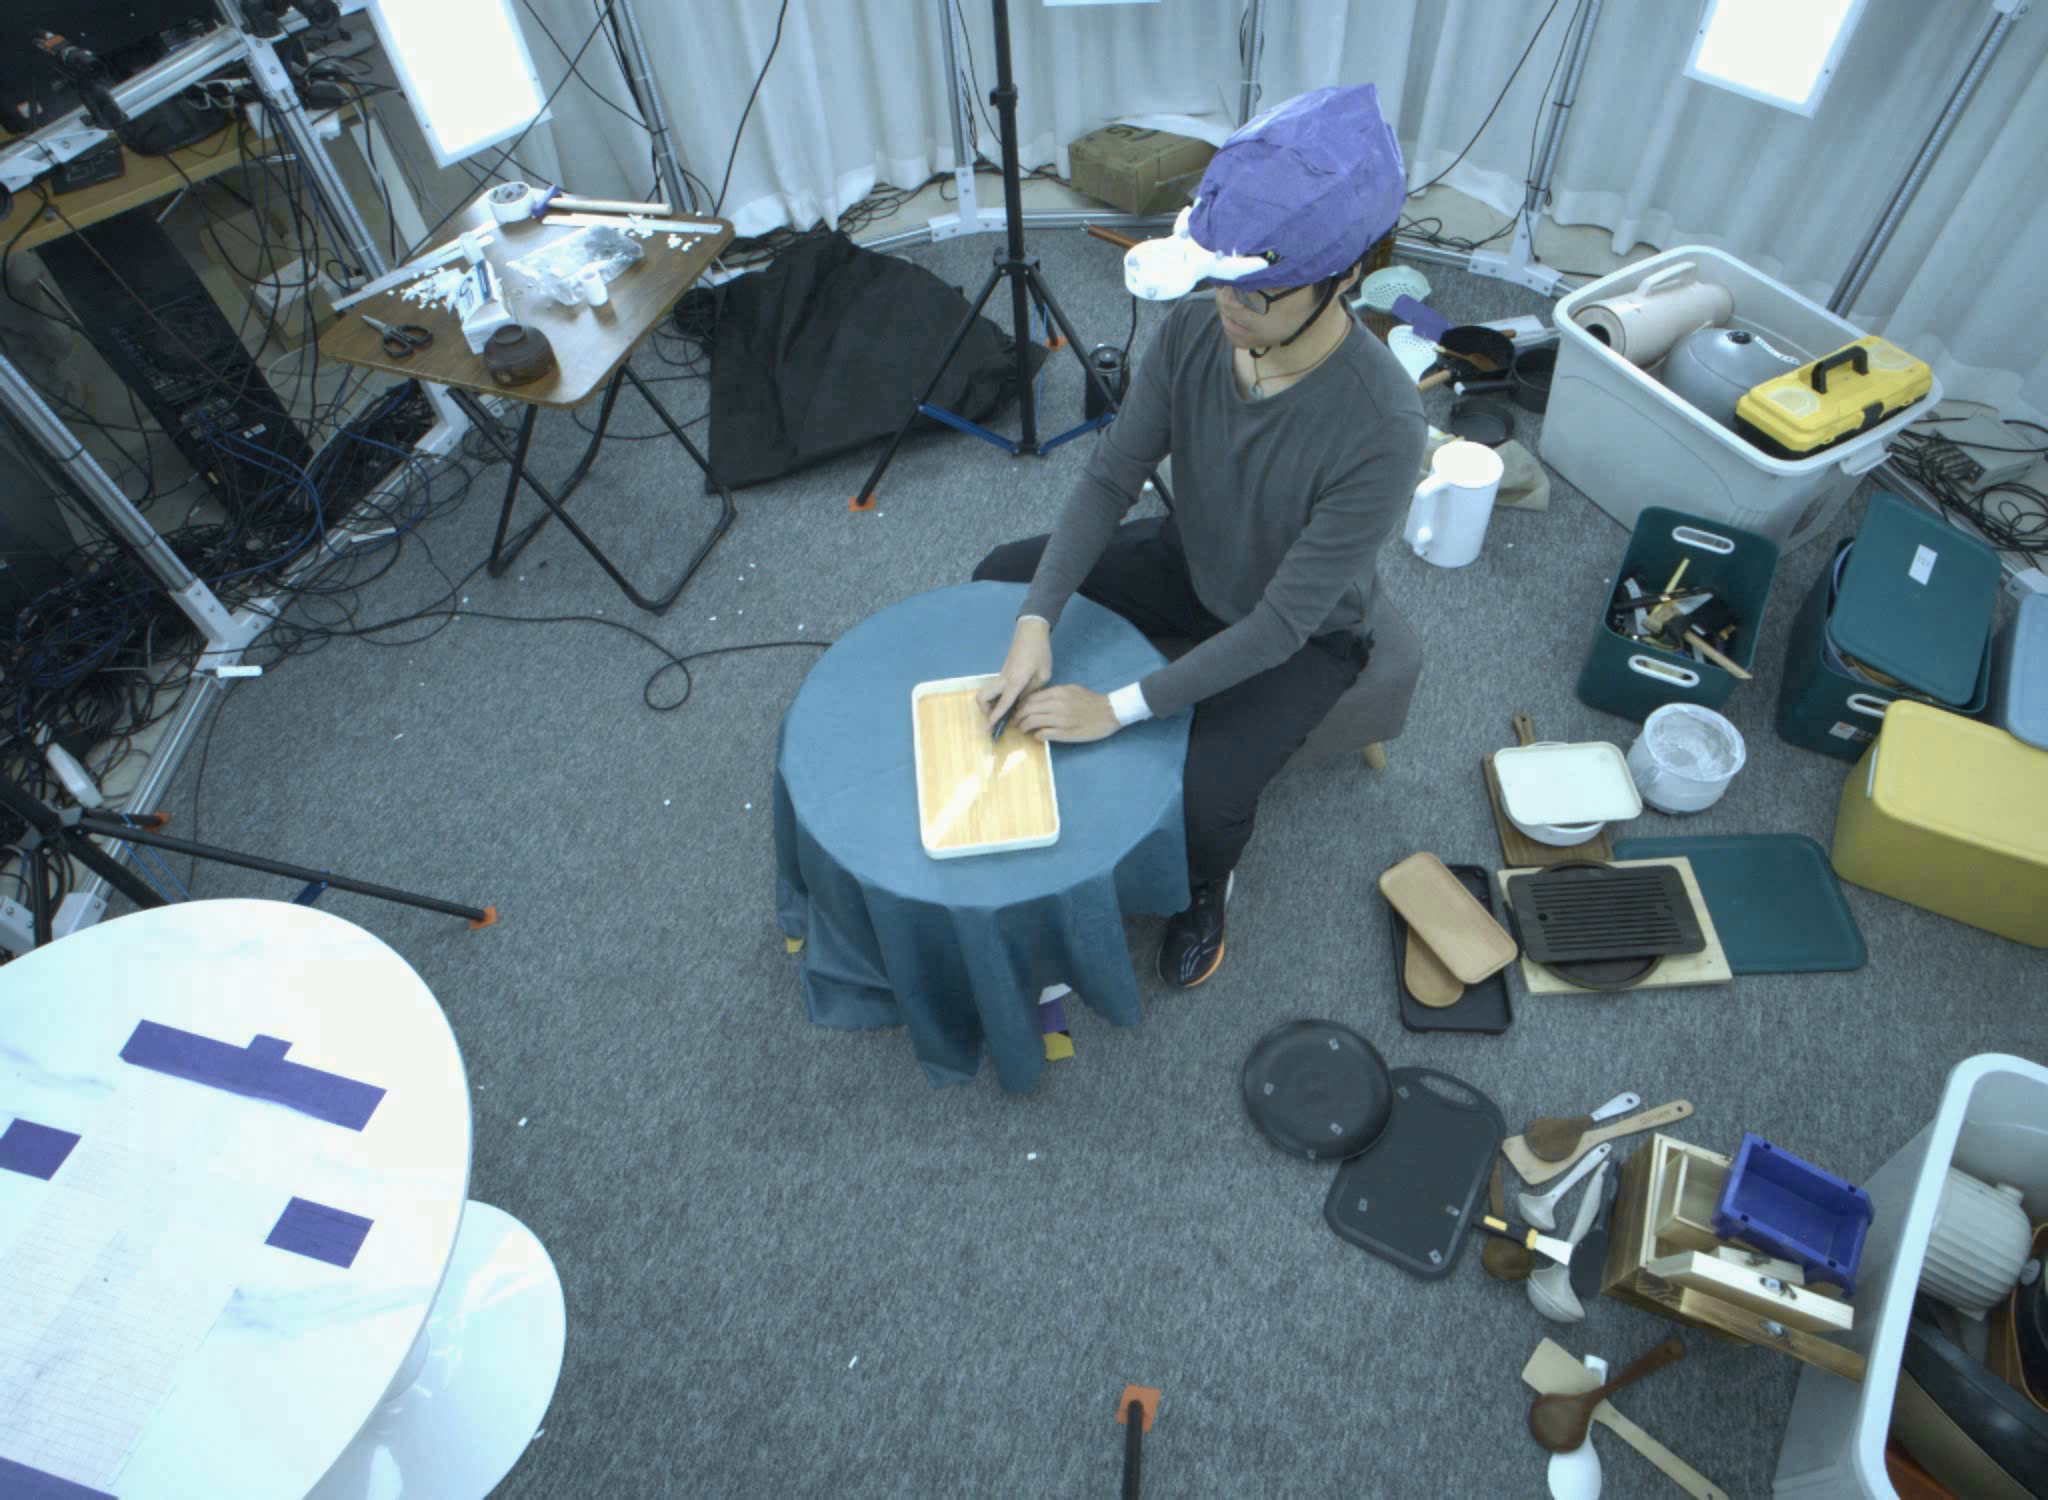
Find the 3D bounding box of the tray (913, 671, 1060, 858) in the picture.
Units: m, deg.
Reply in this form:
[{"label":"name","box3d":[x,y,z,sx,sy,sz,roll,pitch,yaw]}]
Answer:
[{"label":"tray","box3d":[-0.058,0.015,1.770,0.192,0.027,0.296,-5,55,-3]}]

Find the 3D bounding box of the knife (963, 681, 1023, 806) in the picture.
[{"label":"knife","box3d":[-0.045,-0.014,1.754,0.016,0.024,0.238,27,53,-5]}]
